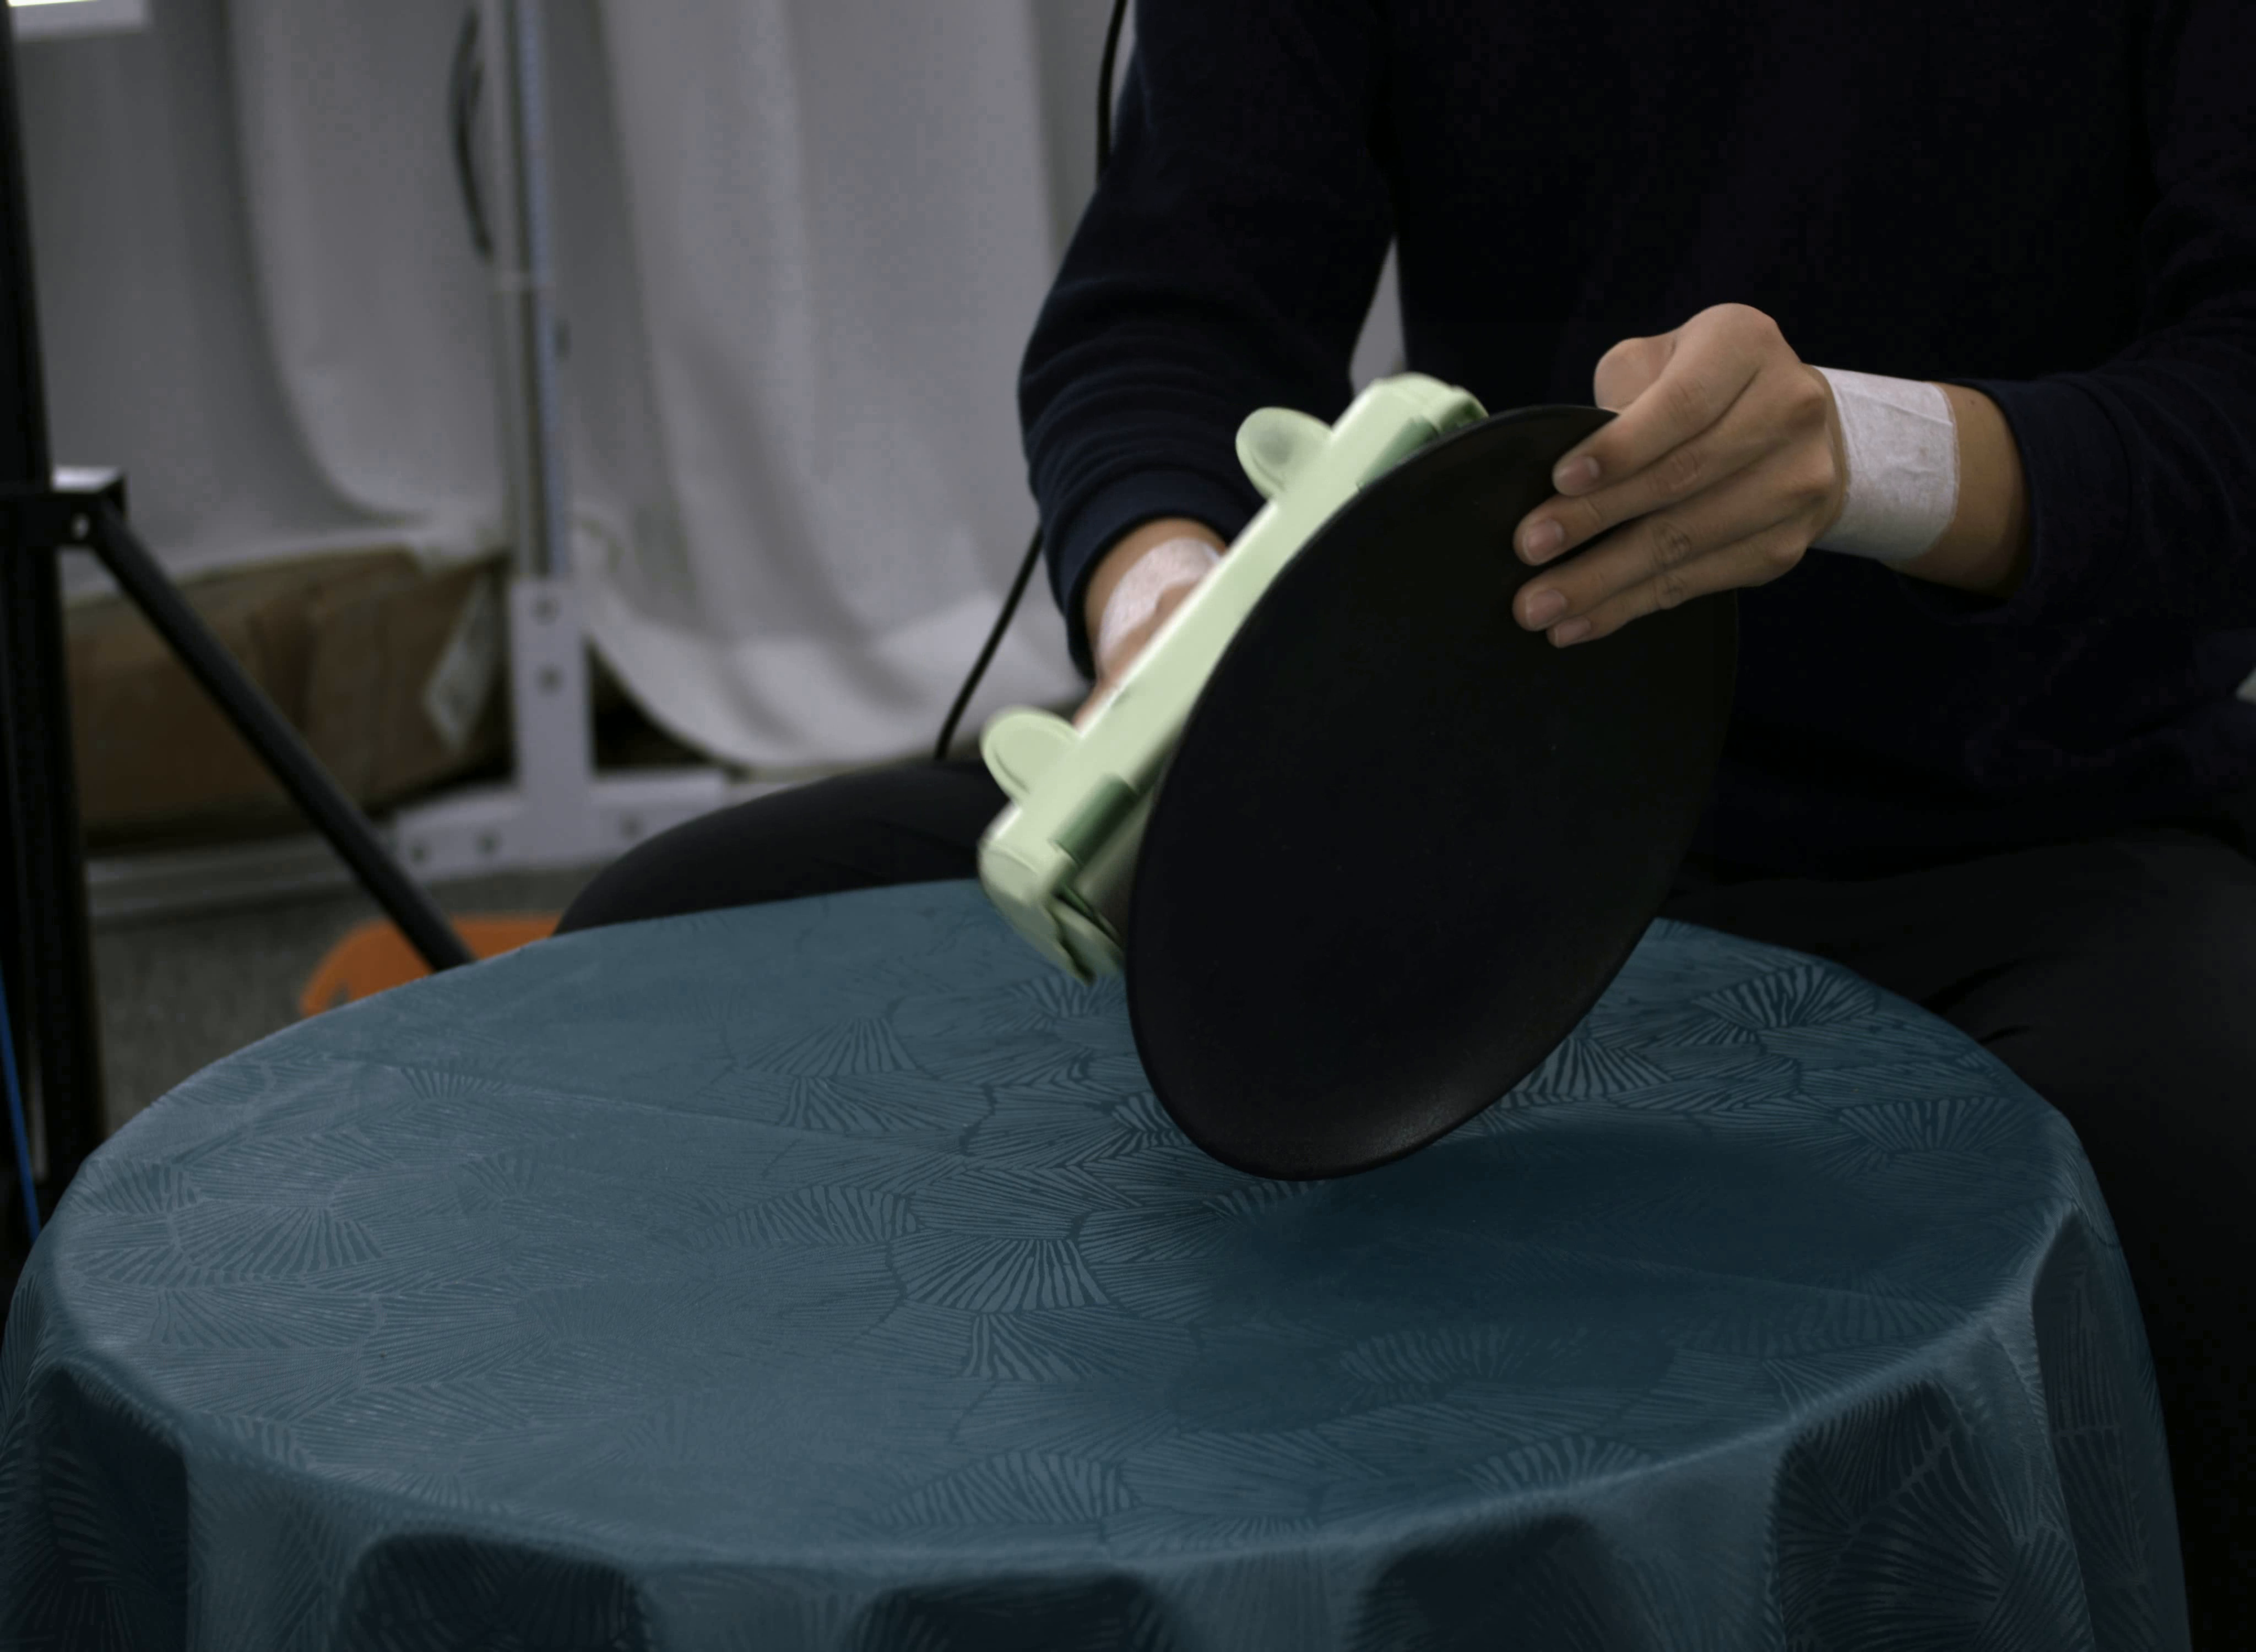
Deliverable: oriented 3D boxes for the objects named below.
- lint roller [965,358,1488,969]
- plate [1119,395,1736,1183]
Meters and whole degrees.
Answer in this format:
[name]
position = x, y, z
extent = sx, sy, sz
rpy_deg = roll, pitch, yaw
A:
[lint roller]
position = 0.015, -0.047, 1.559
extent = 0.198, 0.082, 0.184
rpy_deg = -49, 6, -12
[plate]
position = 0.083, -0.011, 1.521
extent = 0.239, 0.244, 0.024
rpy_deg = -15, 34, -39
